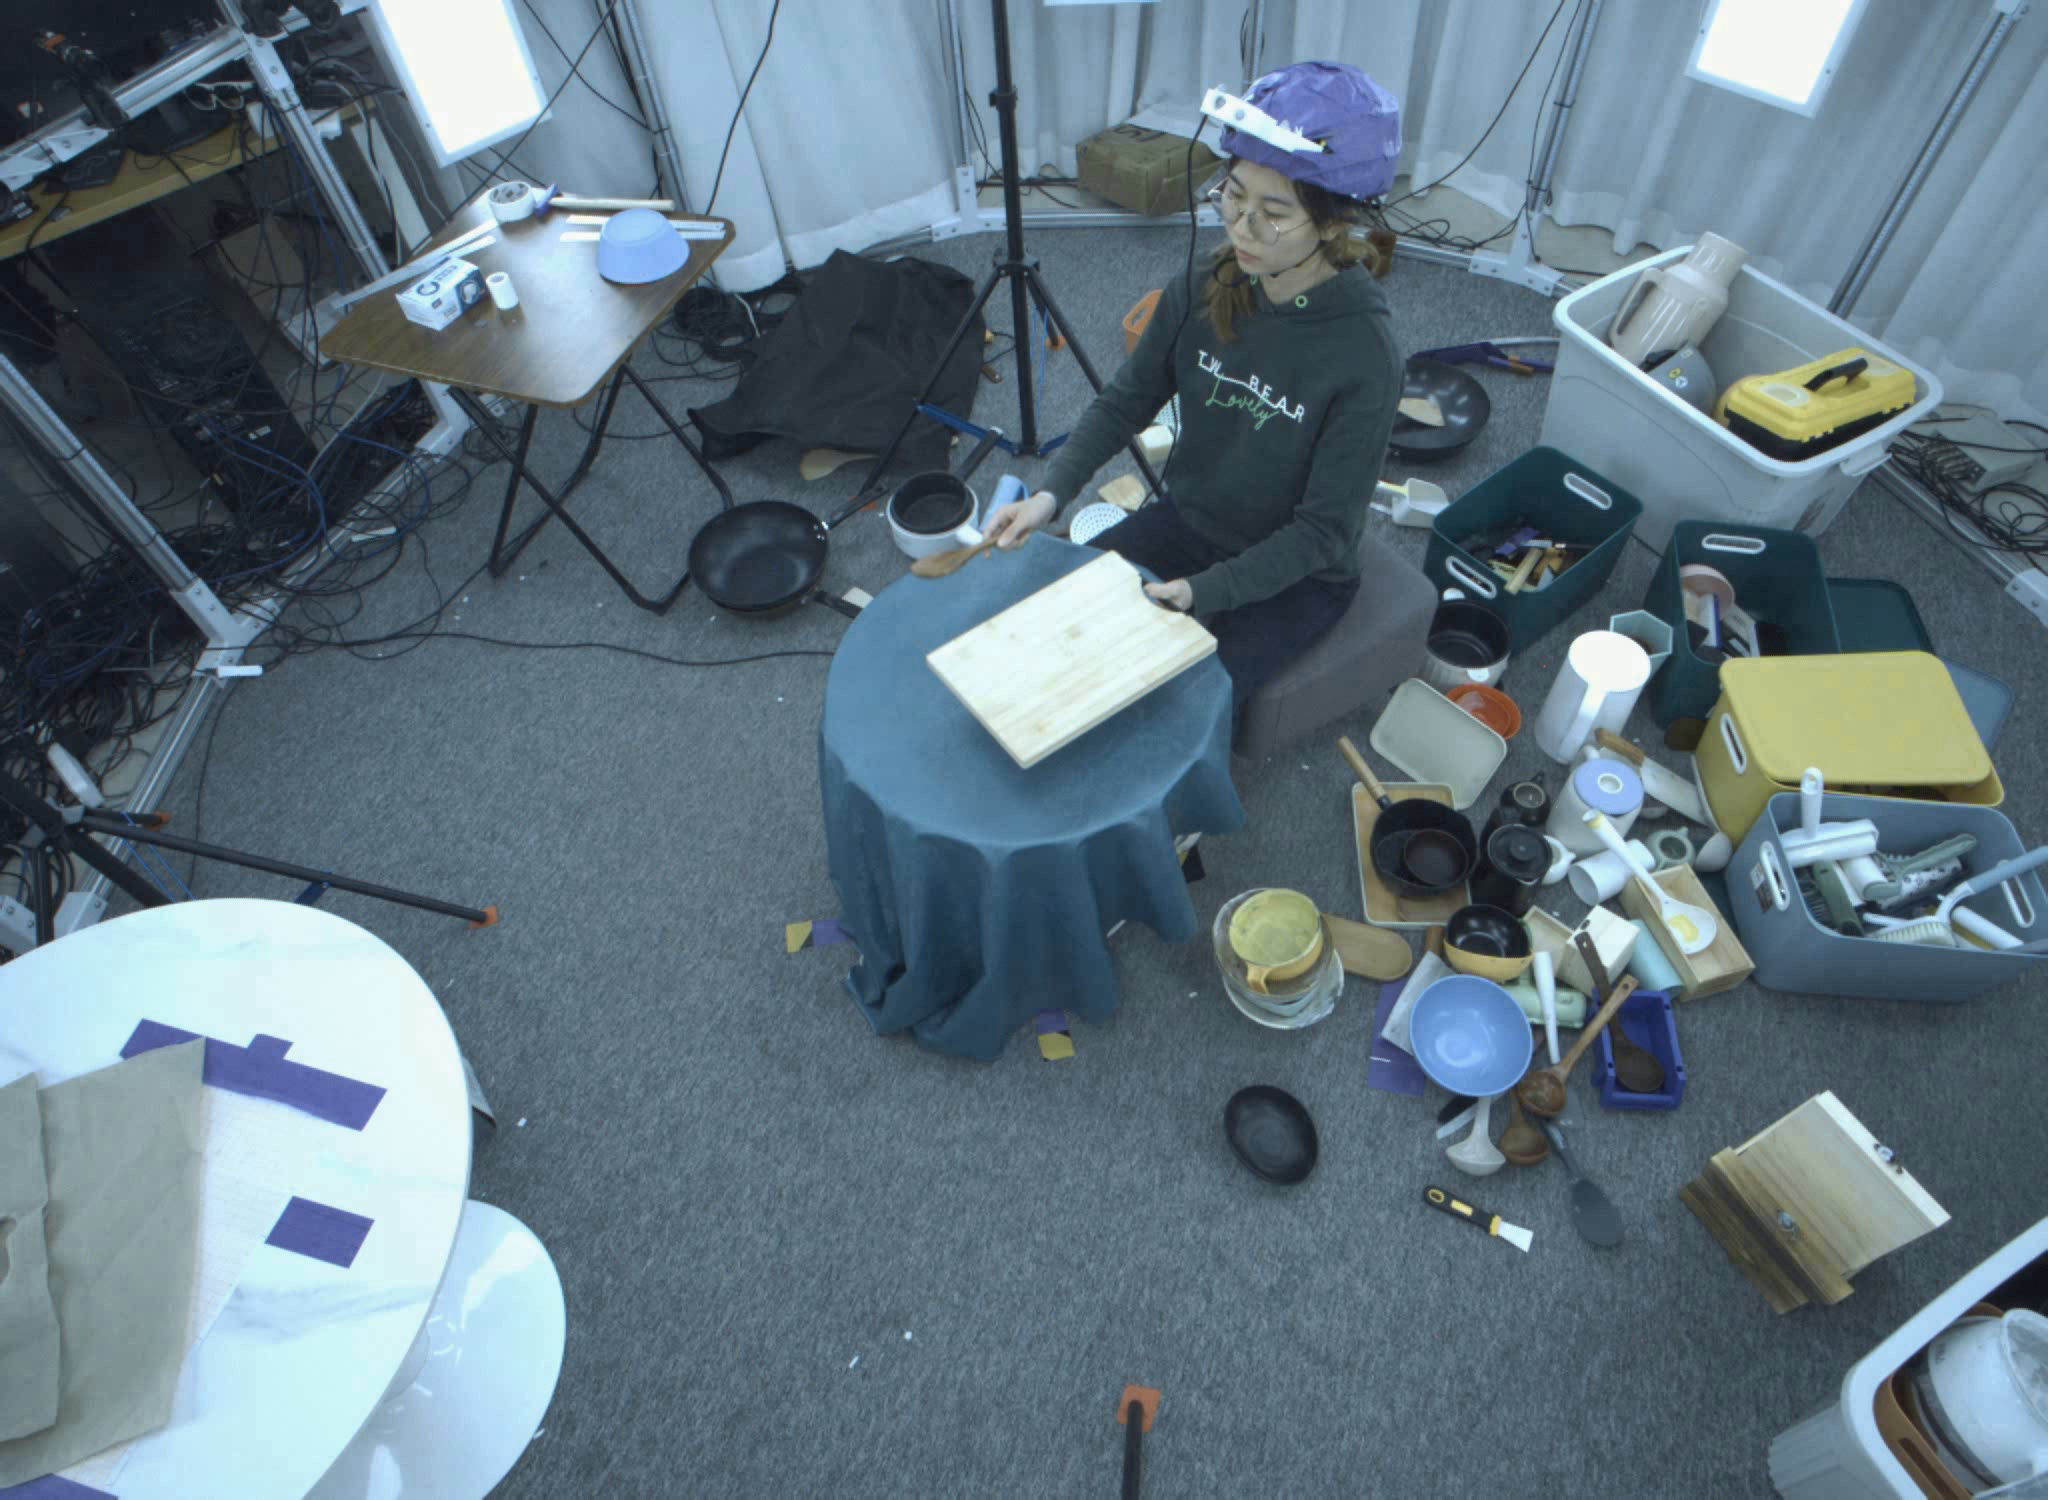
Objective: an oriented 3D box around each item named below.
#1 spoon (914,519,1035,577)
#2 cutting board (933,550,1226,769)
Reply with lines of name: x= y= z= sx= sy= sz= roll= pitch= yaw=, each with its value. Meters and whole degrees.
spoon: x=-0.073 y=-0.305 z=1.857 sx=0.218 sy=0.017 sz=0.073 roll=-29 pitch=34 yaw=-26
cutting board: x=0.075 y=-0.138 z=1.749 sx=0.351 sy=0.024 sz=0.246 roll=-32 pitch=60 yaw=-20
